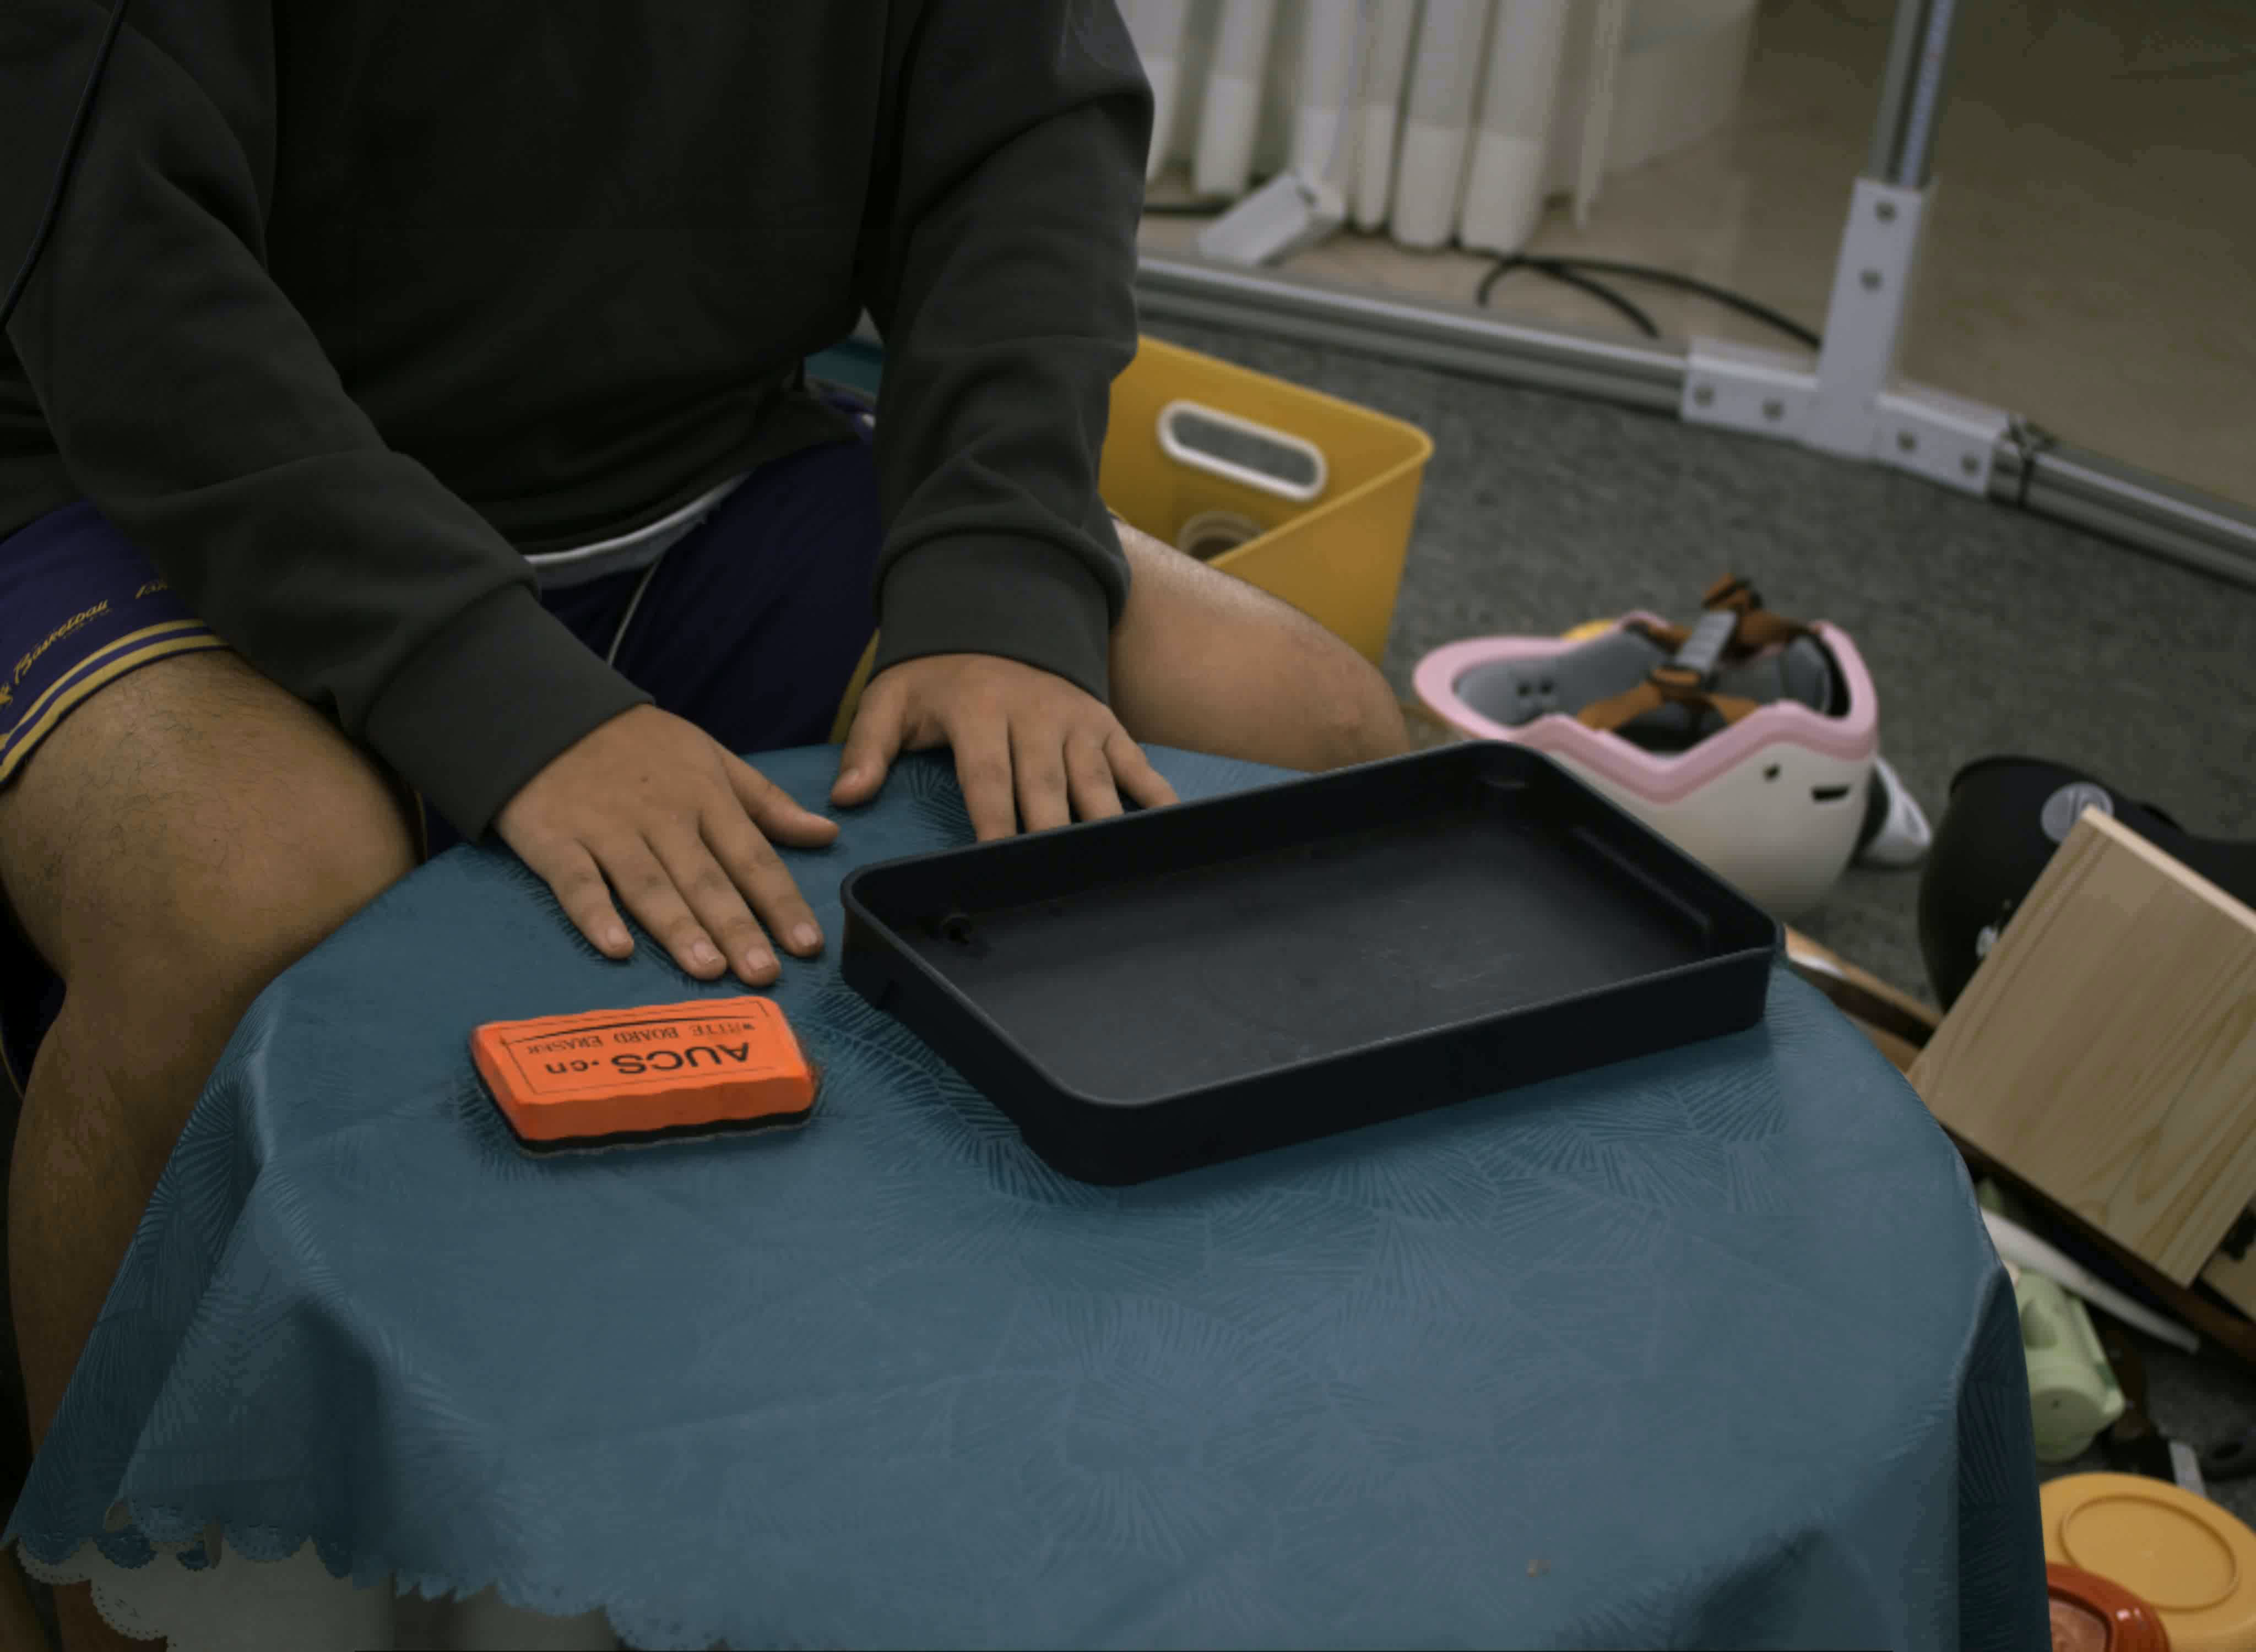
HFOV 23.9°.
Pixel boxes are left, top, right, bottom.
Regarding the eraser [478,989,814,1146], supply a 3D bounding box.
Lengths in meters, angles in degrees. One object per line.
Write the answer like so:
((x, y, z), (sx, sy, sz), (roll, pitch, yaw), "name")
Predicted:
((-0.164, 0.082, 1.813), (0.107, 0.023, 0.059), (-7, 24, -22), "eraser")

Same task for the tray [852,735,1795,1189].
((0.071, 0.044, 1.936), (0.316, 0.037, 0.186), (-13, 32, -33), "tray")
